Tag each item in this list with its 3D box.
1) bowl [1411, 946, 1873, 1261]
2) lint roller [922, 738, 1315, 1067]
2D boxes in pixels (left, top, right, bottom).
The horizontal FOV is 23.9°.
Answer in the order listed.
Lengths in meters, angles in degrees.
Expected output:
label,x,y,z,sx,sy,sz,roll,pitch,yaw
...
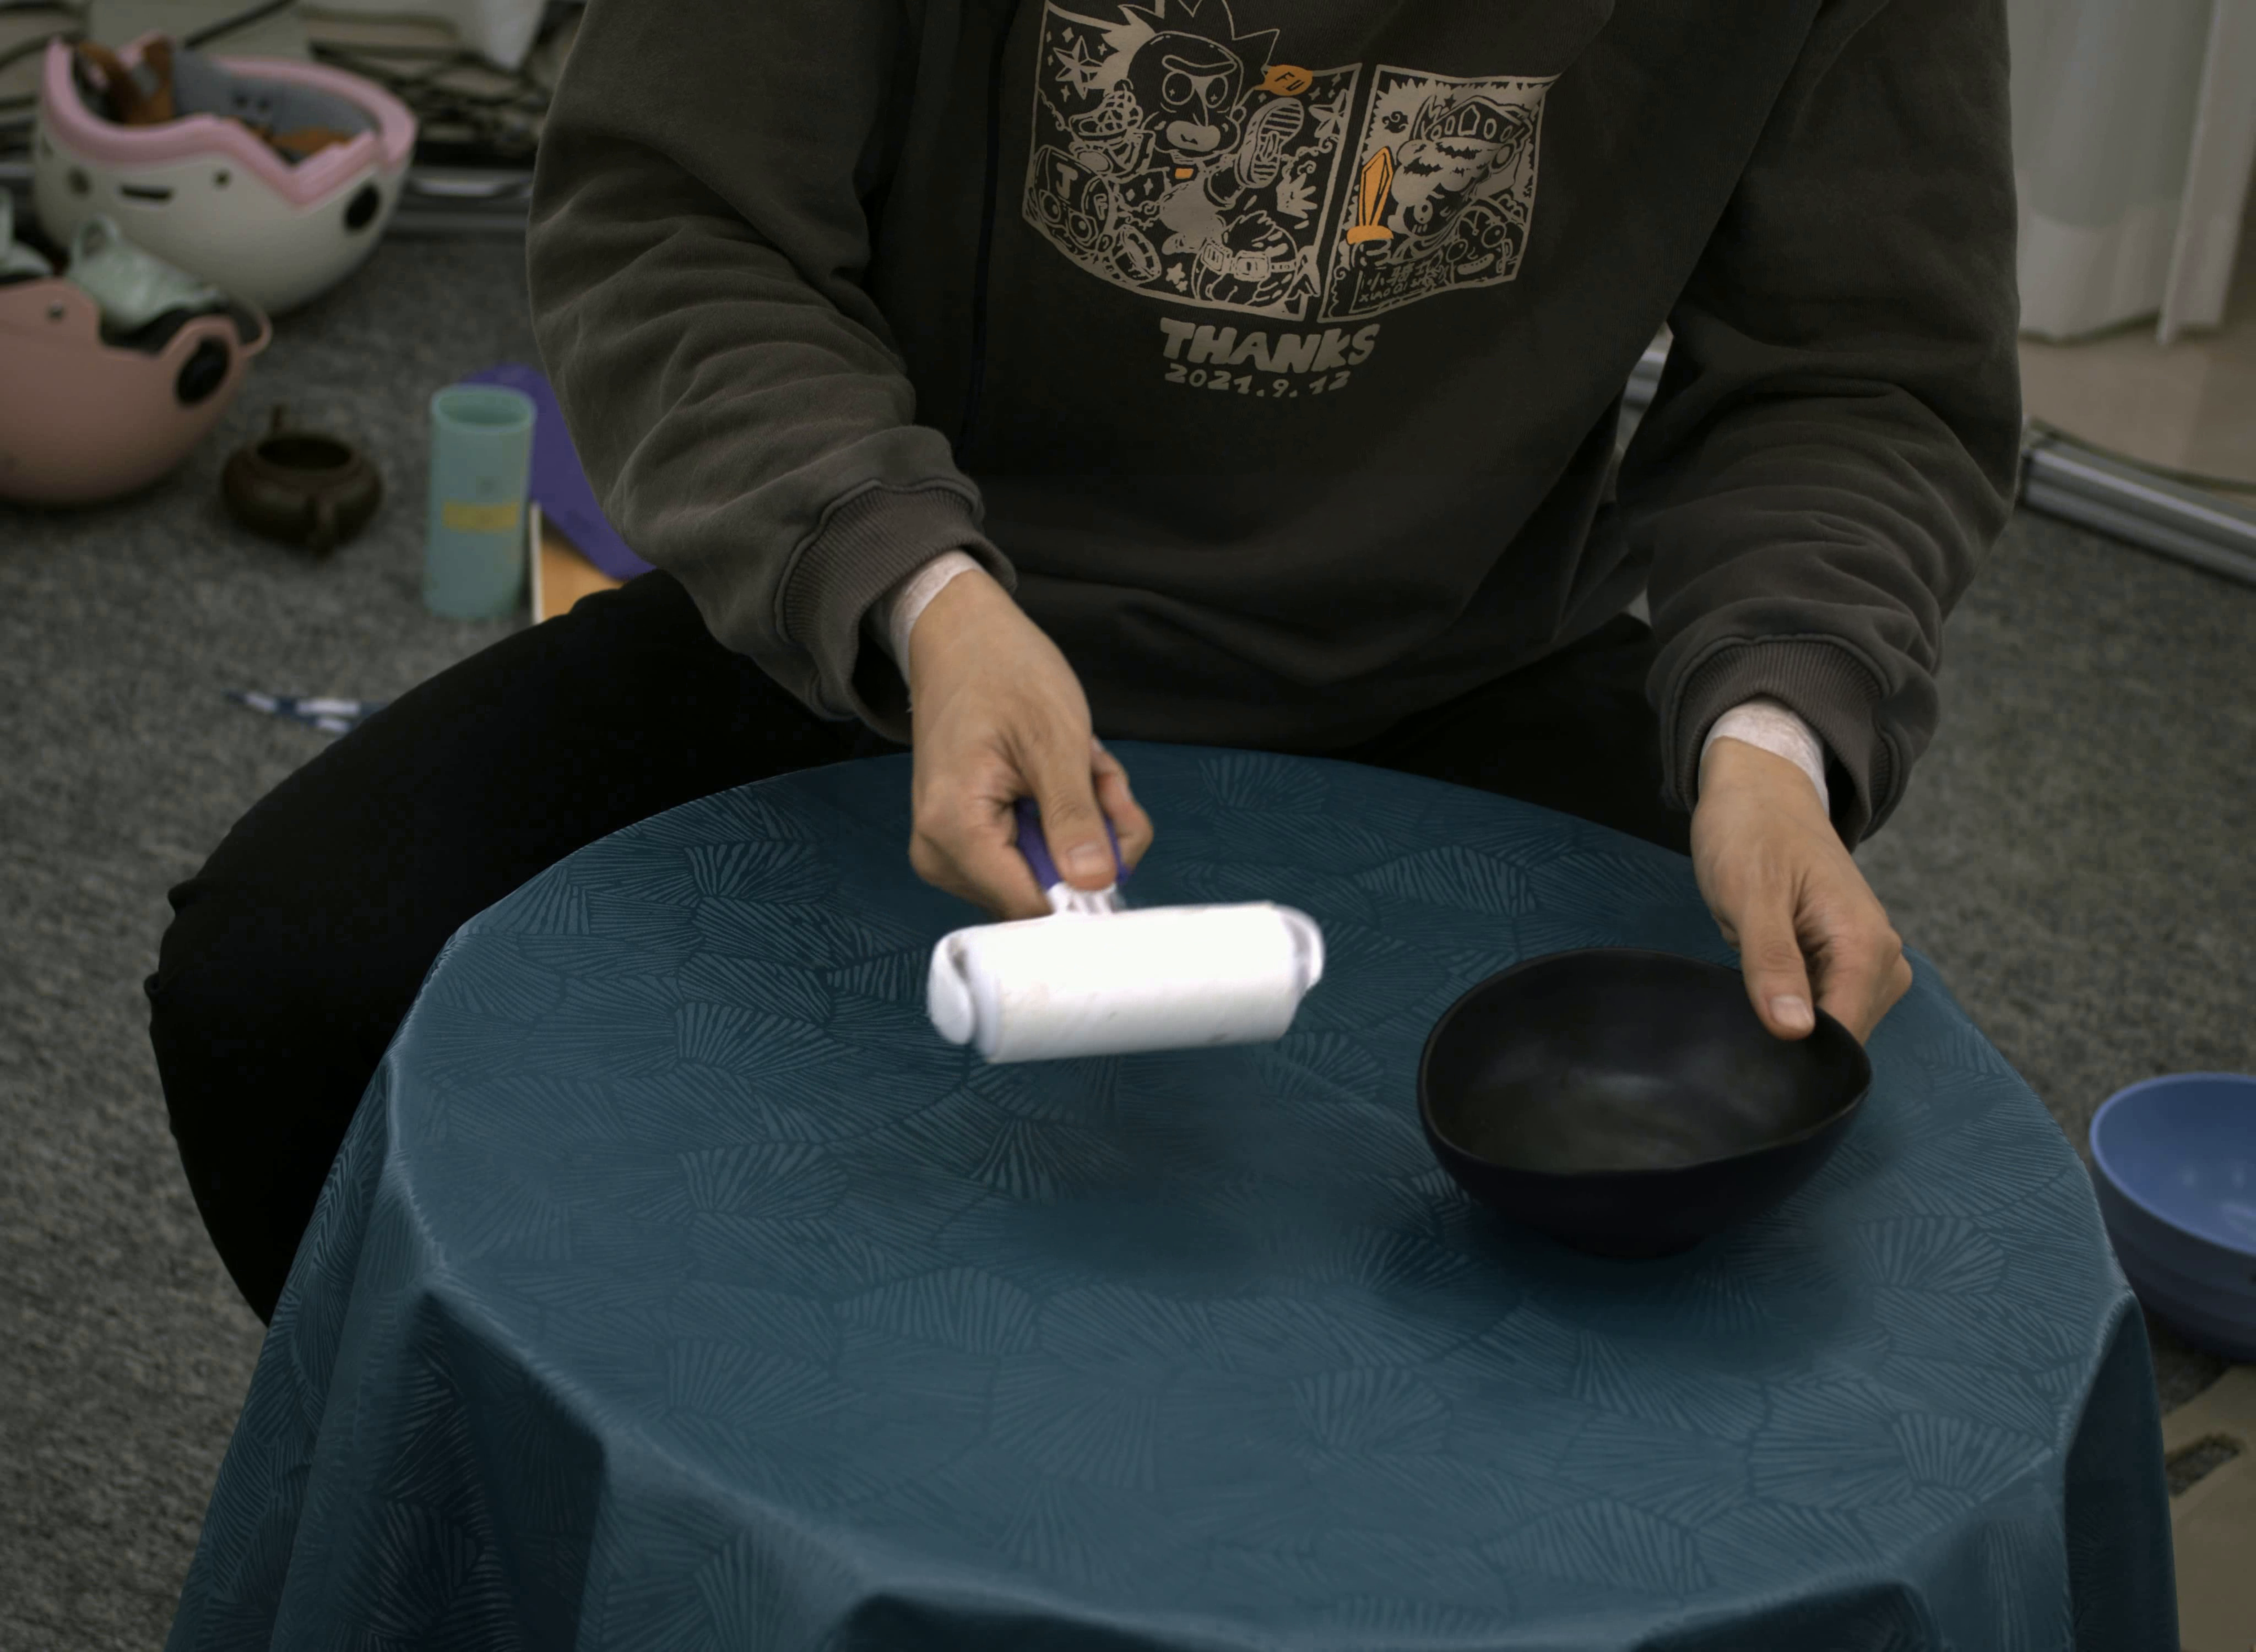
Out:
label,x,y,z,sx,sy,sz,roll,pitch,yaw
bowl,0.173,0.104,1.811,0.169,0.066,0.138,-17,33,-36
lint roller,-0.015,0.014,1.823,0.132,0.050,0.182,-2,40,-12
